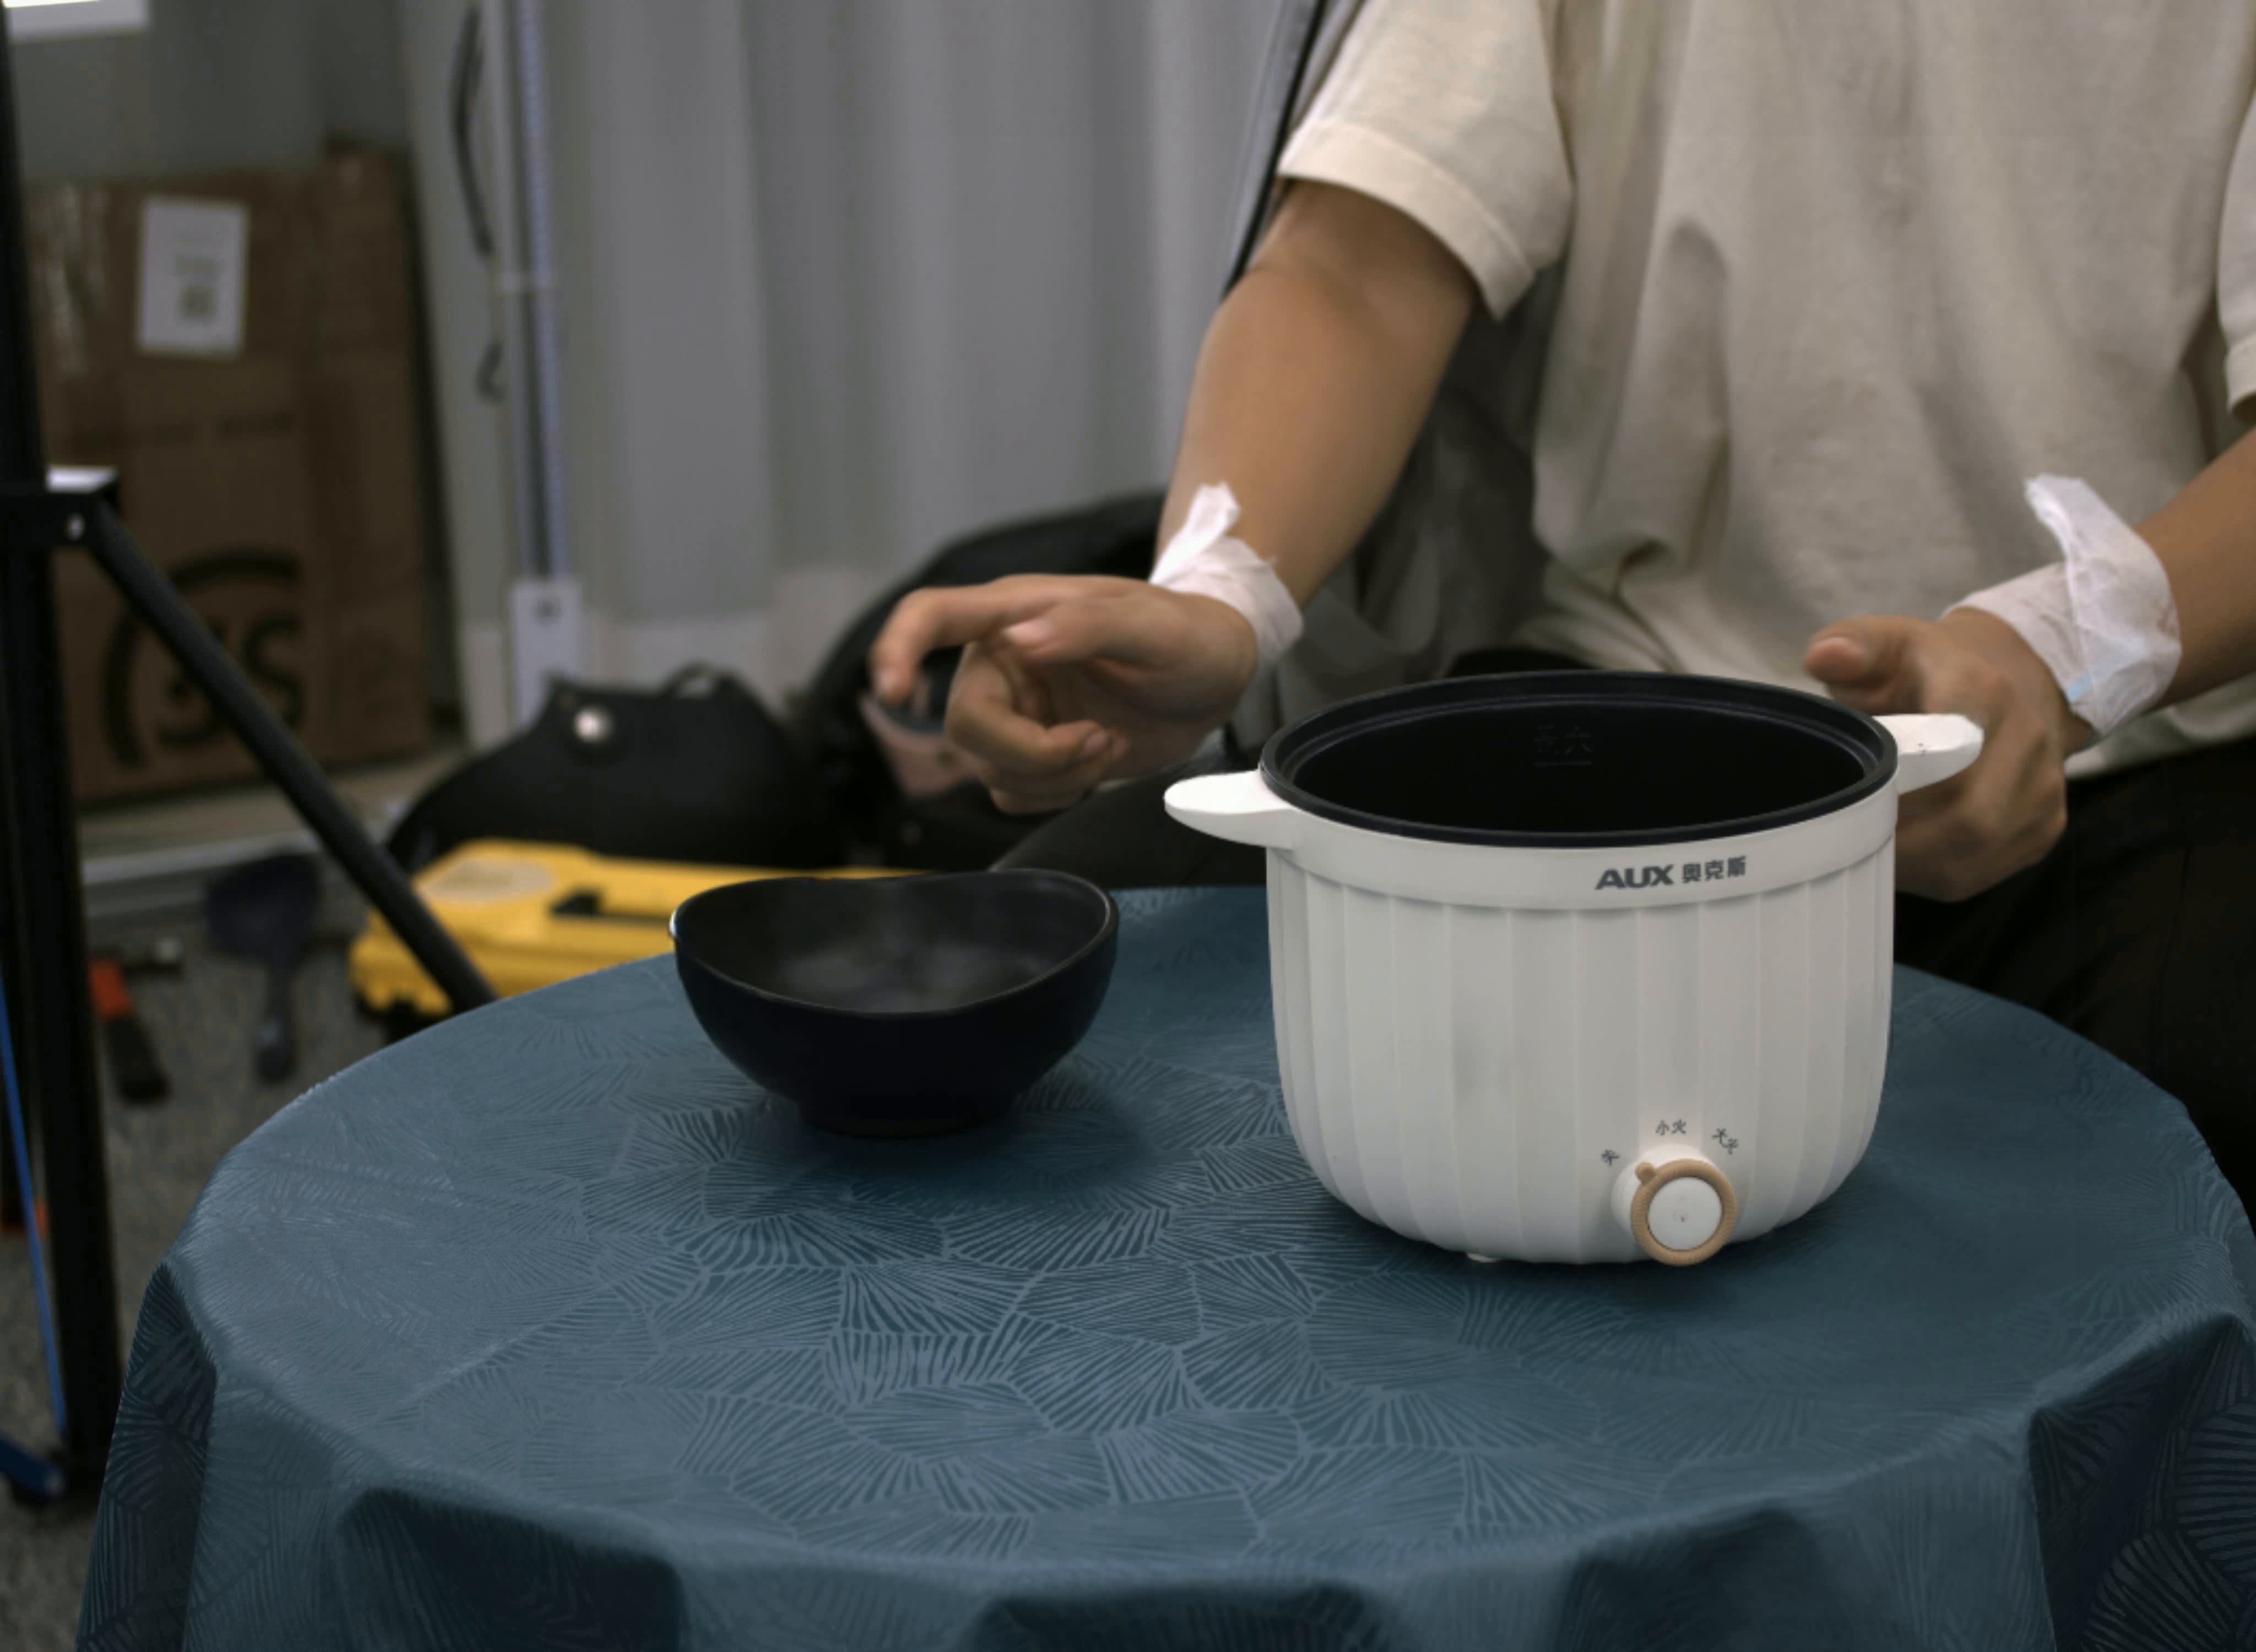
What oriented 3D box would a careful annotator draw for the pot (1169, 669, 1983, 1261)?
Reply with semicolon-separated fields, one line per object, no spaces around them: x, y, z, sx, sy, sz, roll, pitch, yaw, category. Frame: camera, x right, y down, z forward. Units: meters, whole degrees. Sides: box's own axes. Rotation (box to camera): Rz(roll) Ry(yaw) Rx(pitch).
0.133;0.043;1.511;0.237;0.143;0.192;-6;12;-10;pot

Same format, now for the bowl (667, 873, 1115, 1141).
-0.072;0.057;1.633;0.136;0.067;0.171;-2;14;-3;bowl
